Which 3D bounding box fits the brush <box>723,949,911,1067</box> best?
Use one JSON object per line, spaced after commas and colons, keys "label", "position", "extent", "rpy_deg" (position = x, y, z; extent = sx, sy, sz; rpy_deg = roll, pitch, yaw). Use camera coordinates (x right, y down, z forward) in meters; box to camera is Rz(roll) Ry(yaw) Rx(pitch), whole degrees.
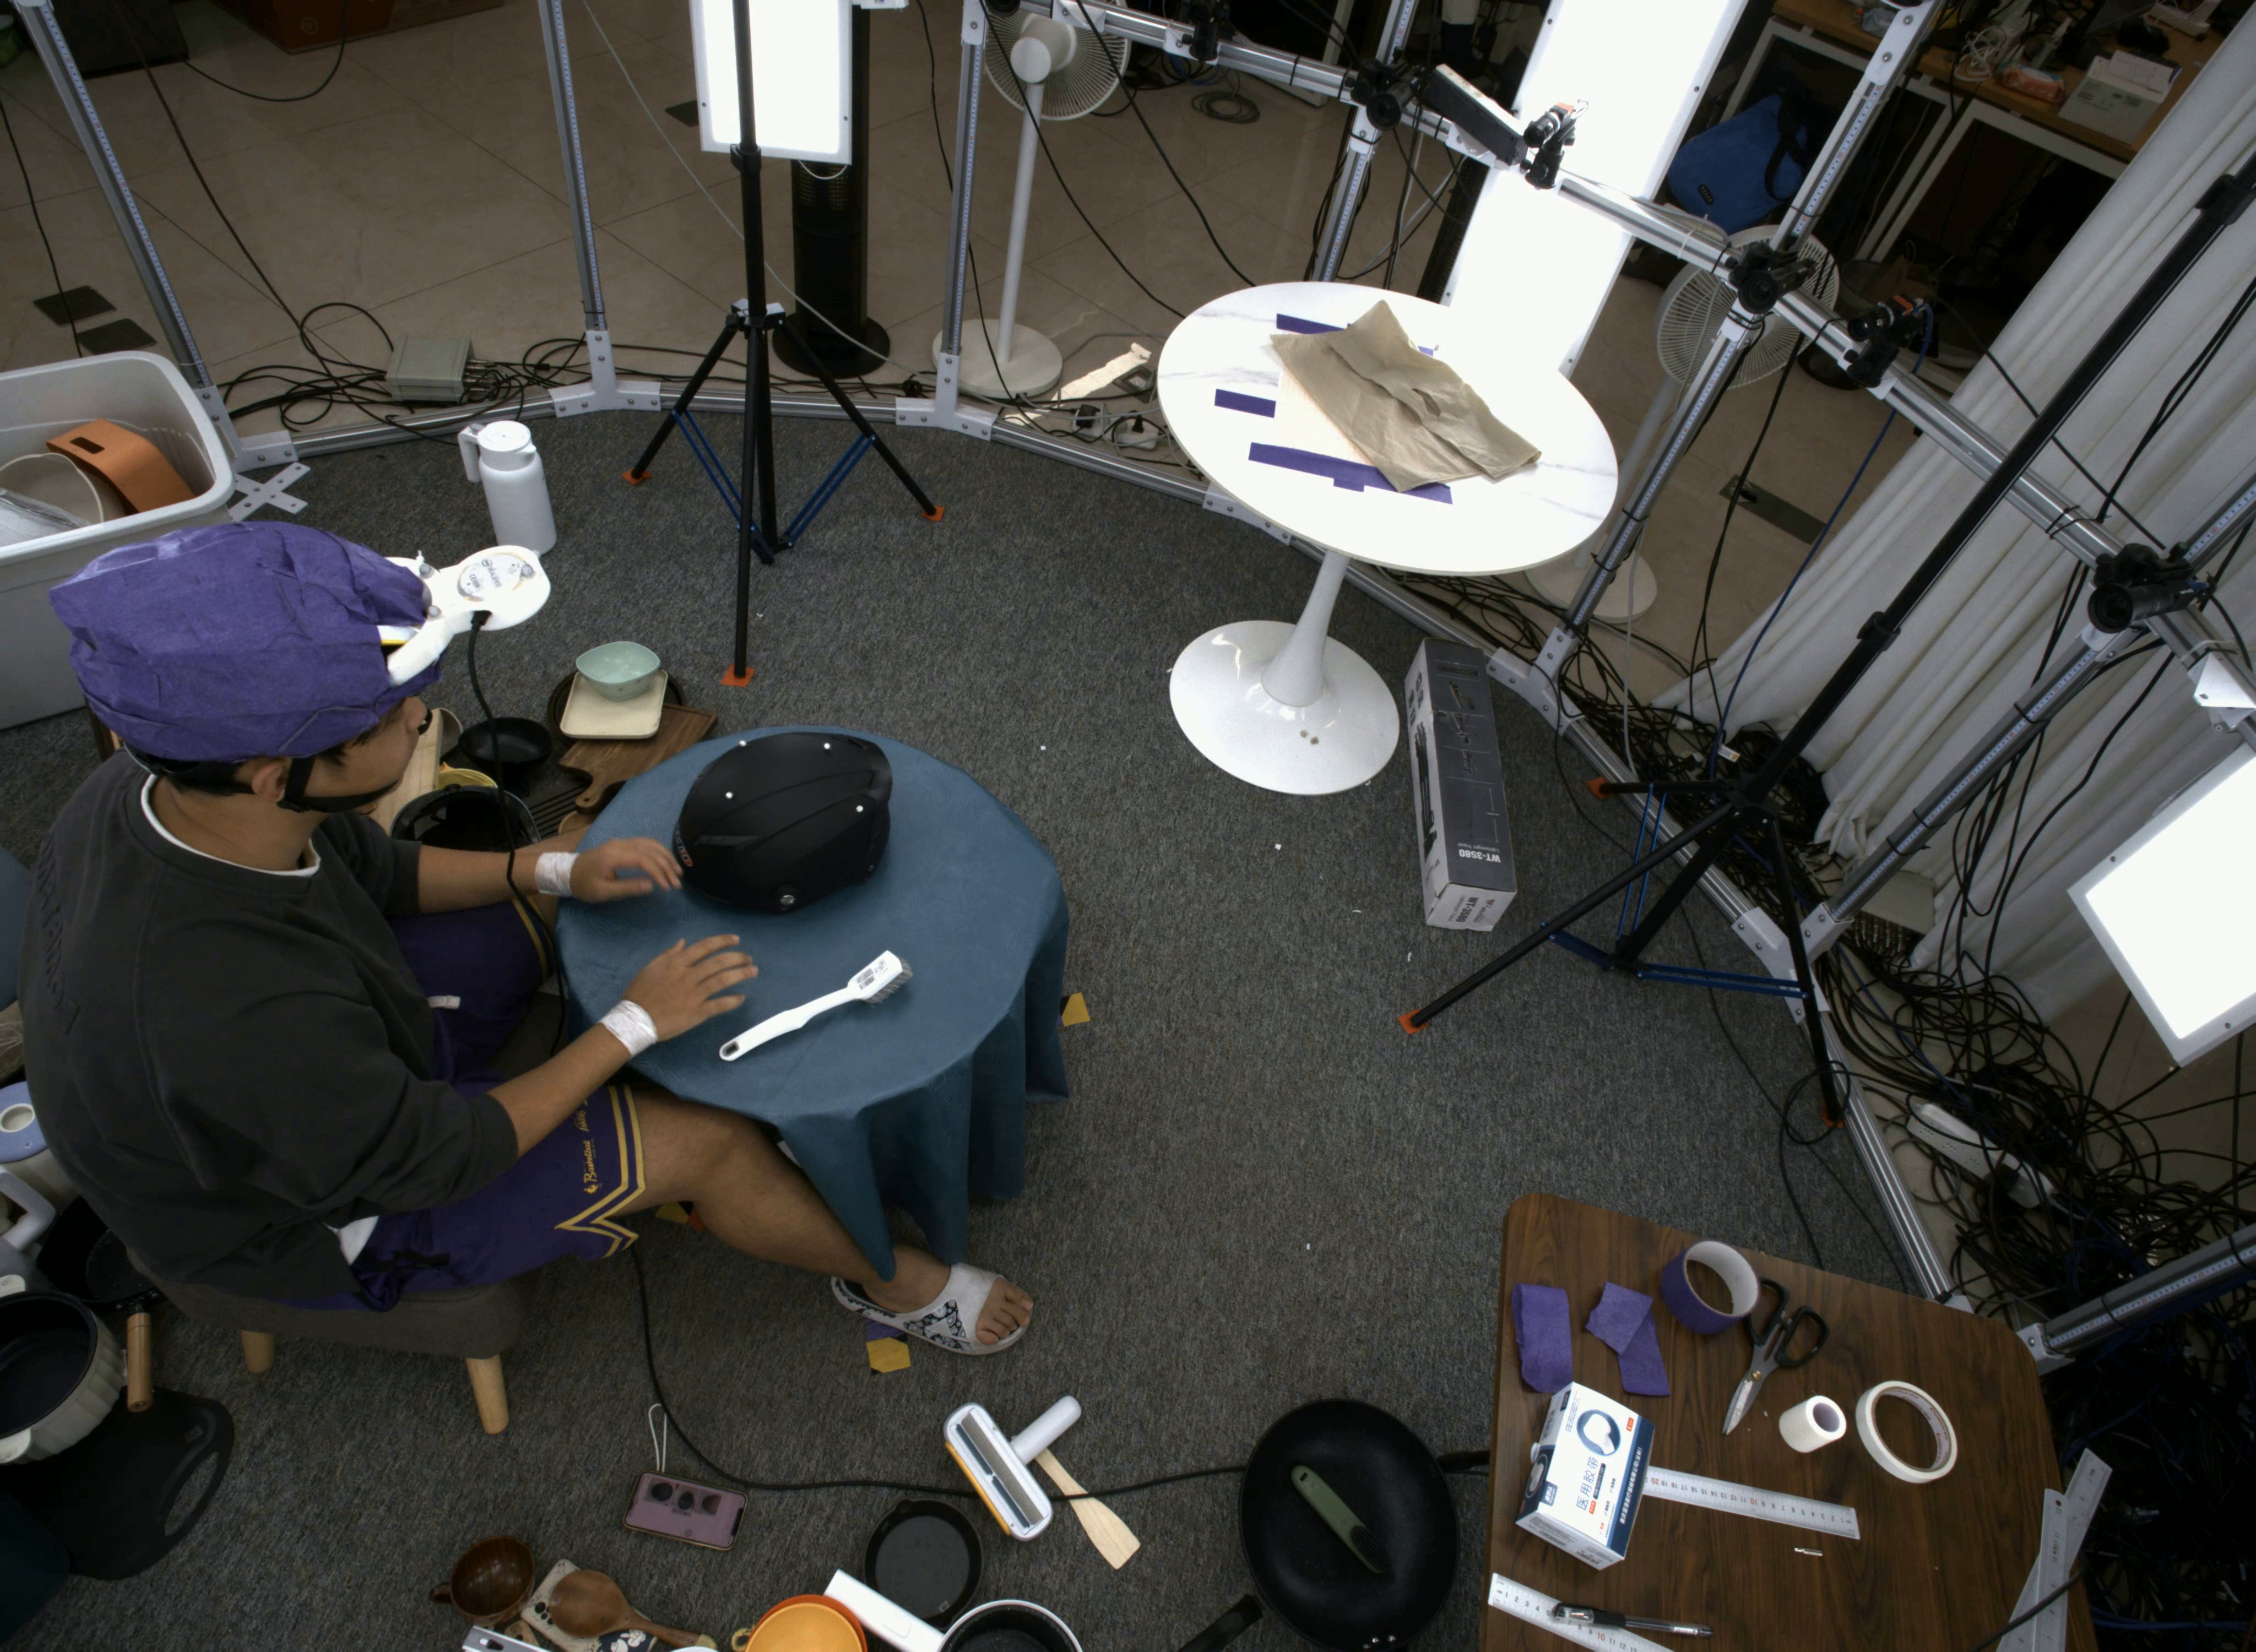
{"label": "brush", "position": [-0.372, 0.224, 1.560], "extent": [0.243, 0.052, 0.033], "rpy_deg": [-32, 57, -17]}

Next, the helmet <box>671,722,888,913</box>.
{"label": "helmet", "position": [-0.440, -0.028, 1.642], "extent": [0.278, 0.176, 0.240], "rpy_deg": [-13, 57, -24]}
